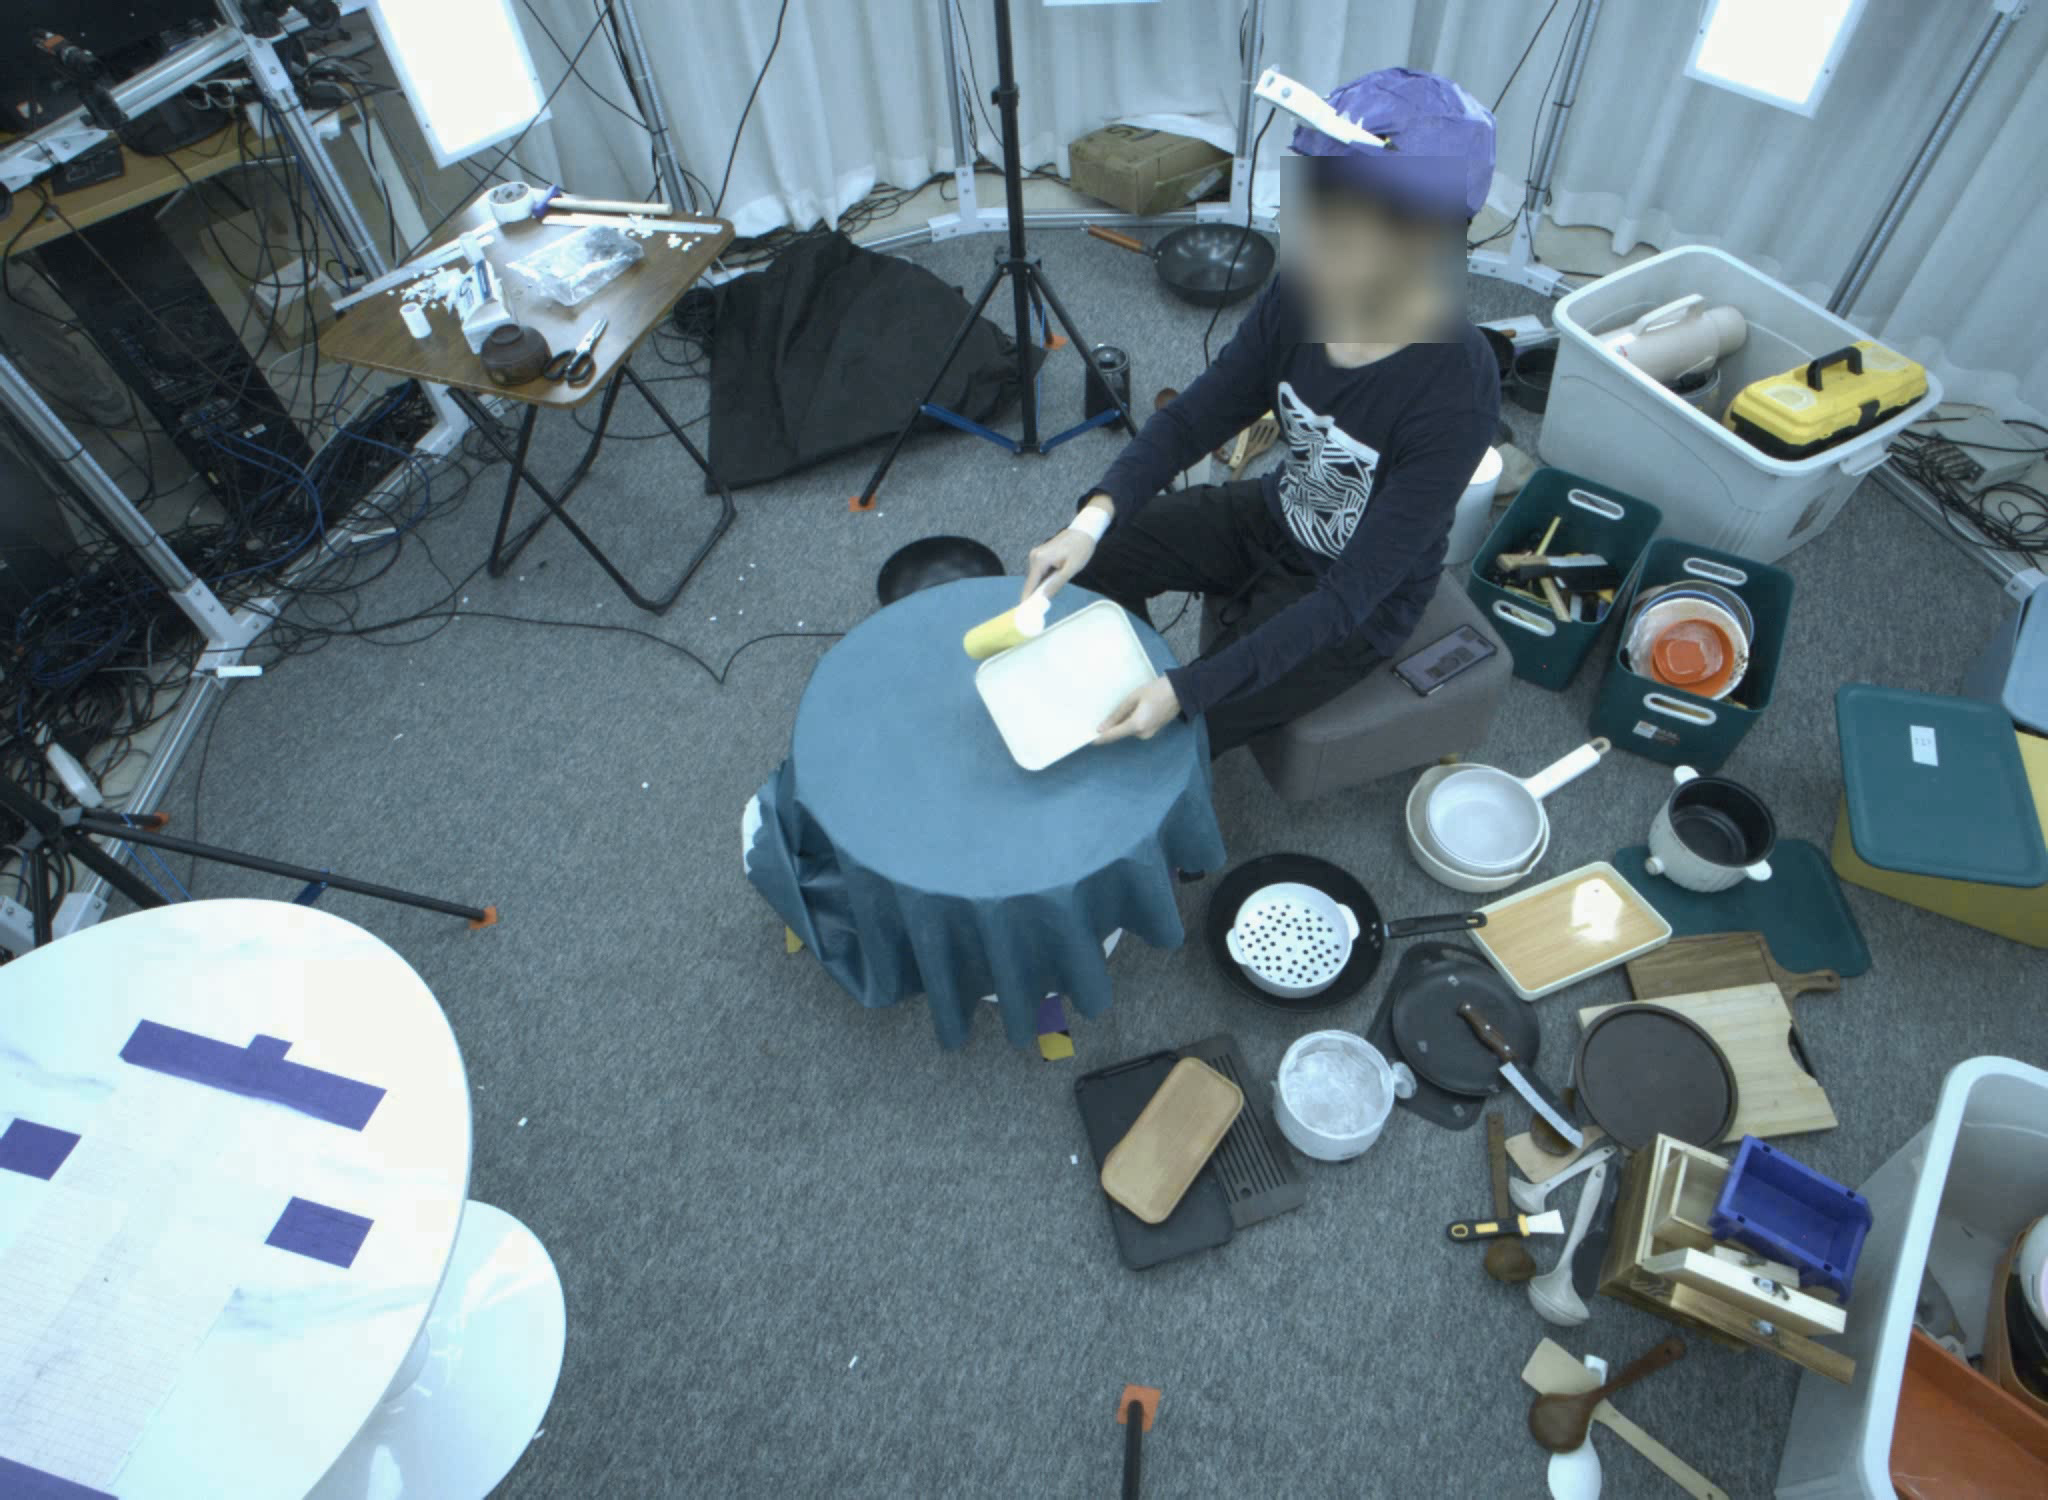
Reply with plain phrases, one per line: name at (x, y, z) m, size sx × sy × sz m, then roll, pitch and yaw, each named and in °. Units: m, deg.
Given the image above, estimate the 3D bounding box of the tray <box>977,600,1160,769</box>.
tray at (0.063, -0.093, 1.742) m, size 0.241 × 0.017 × 0.172 m, roll -29°, pitch 99°, yaw -12°

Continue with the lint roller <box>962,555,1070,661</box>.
lint roller at (0.003, -0.219, 1.761) m, size 0.052 × 0.171 × 0.192 m, roll 39°, pitch 65°, yaw -20°
